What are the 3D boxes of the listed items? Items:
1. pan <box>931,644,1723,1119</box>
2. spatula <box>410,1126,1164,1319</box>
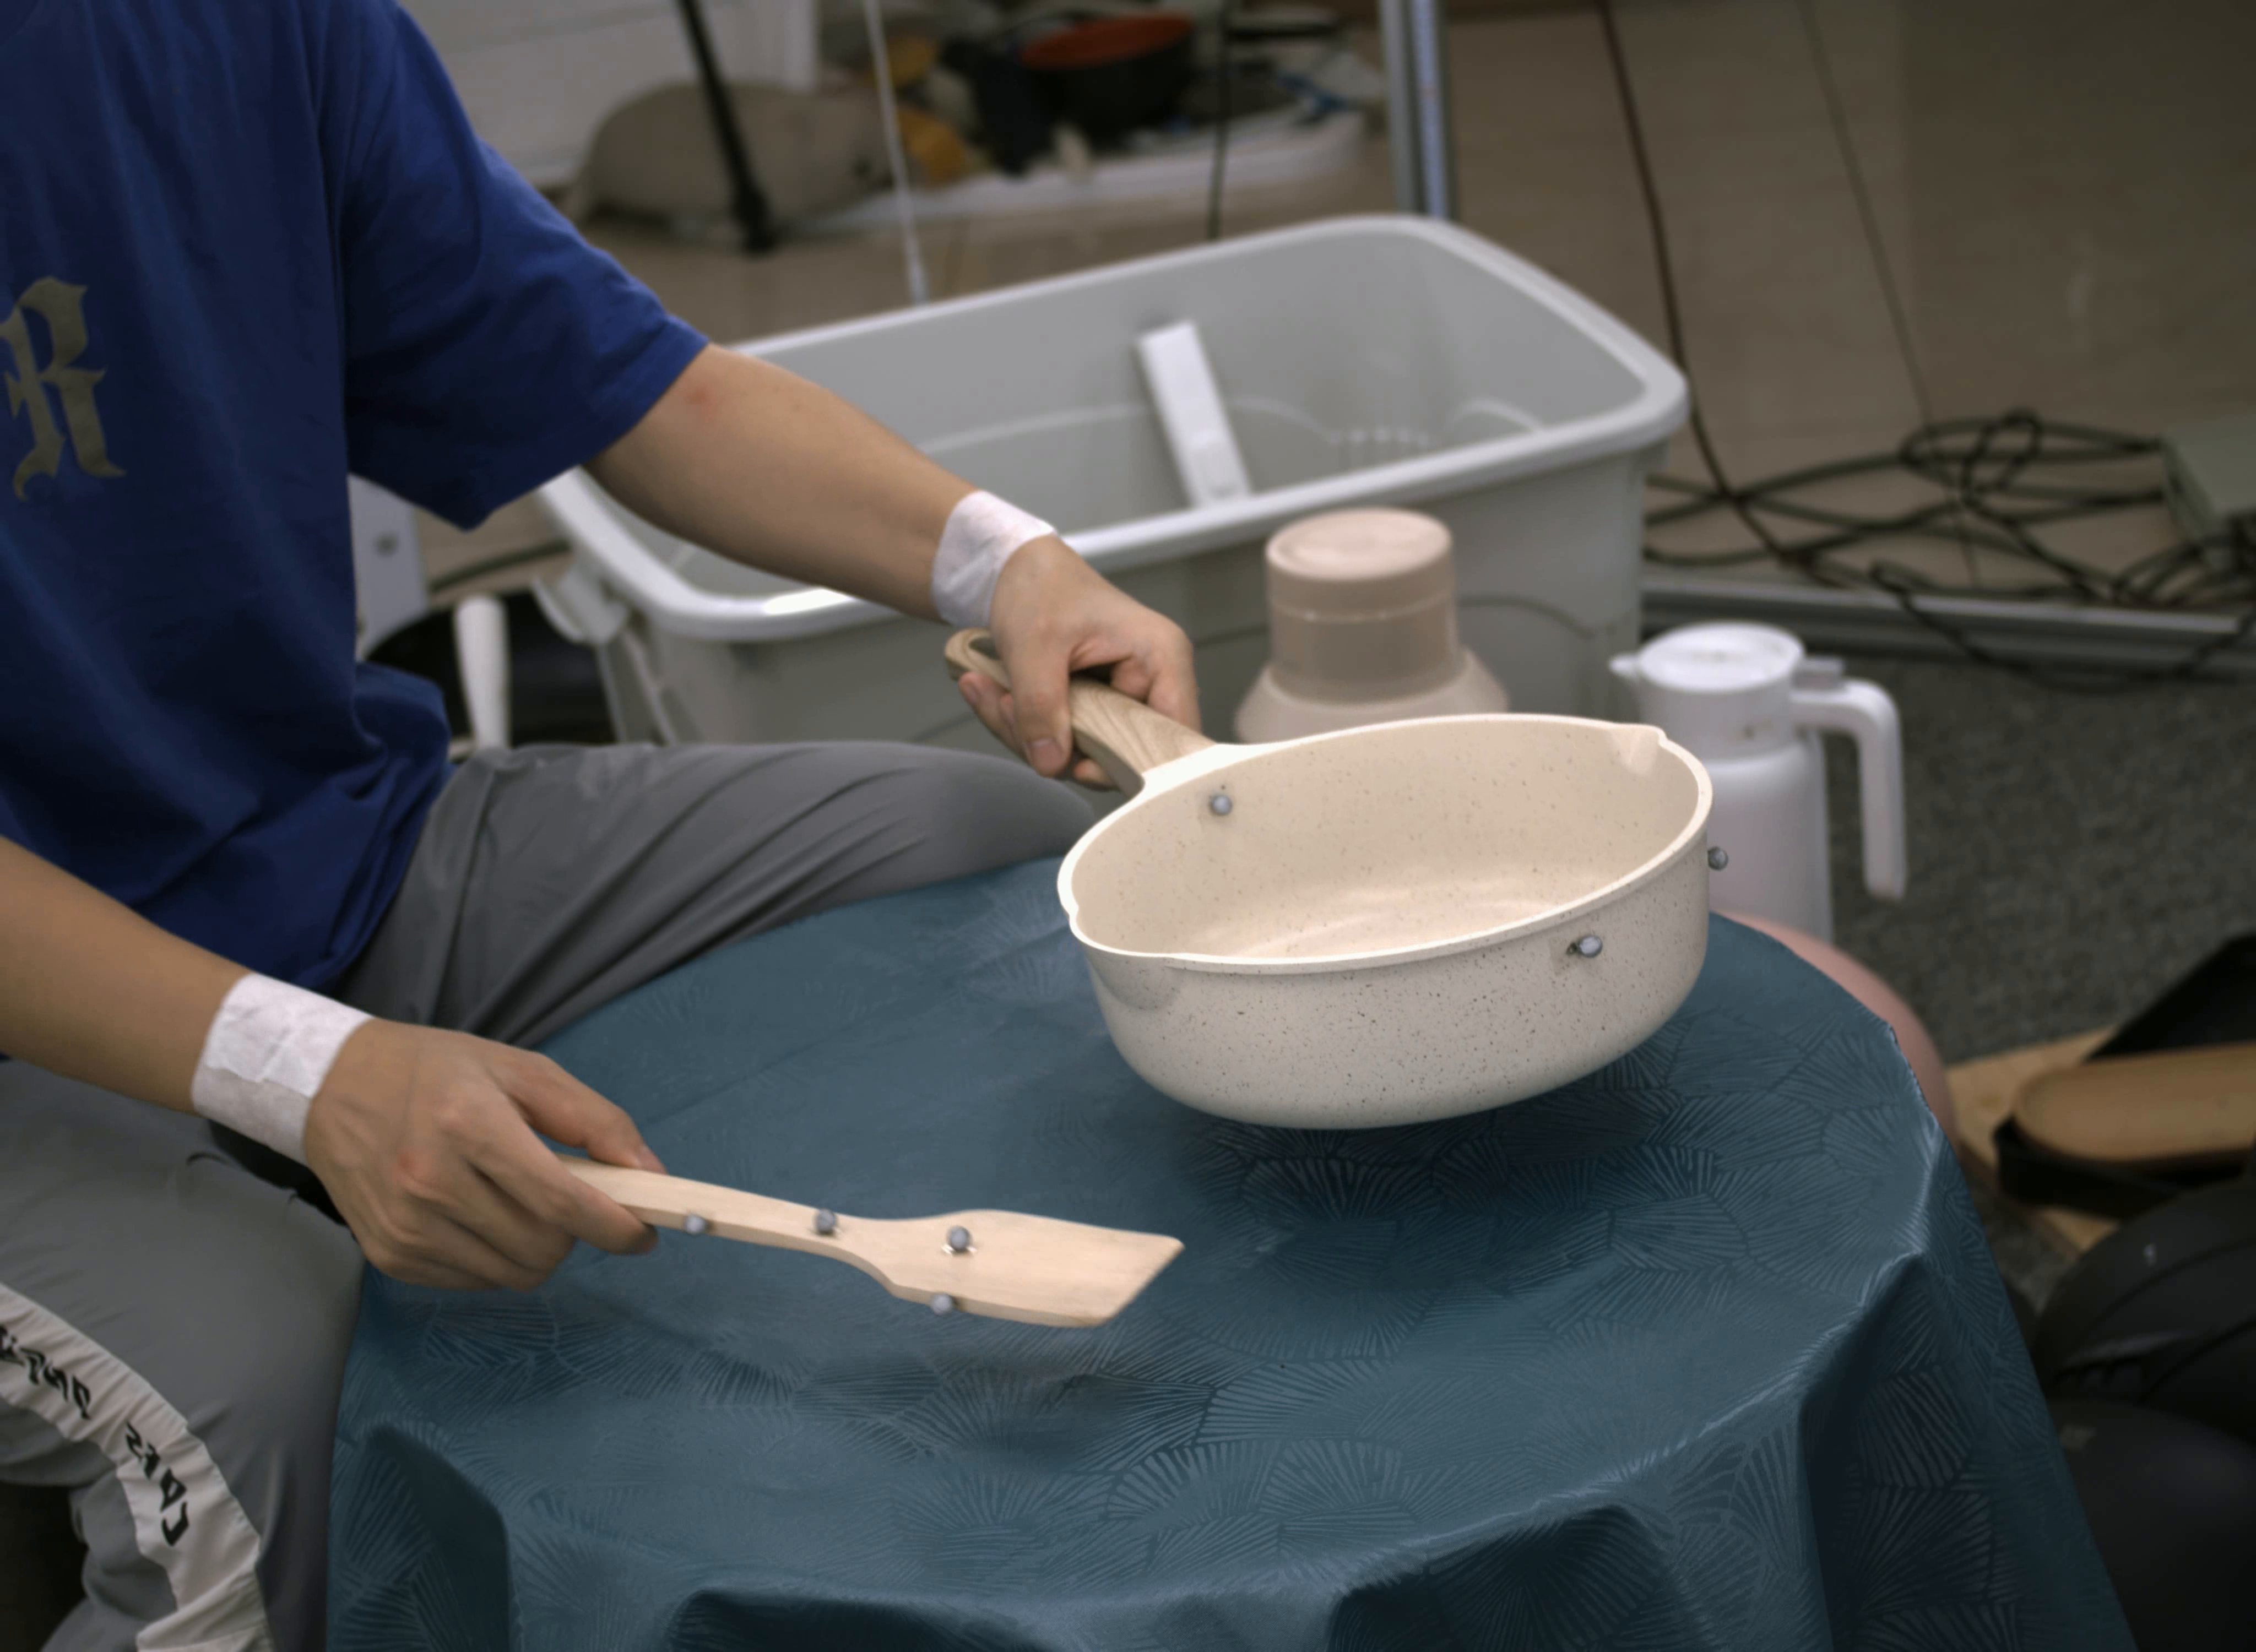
[{"bbox_3d":[0.056,0.011,2.229,0.261,0.103,0.431,-23,23,-28],"label":"pan"},{"bbox_3d":[-0.131,0.139,2.048,0.292,0.011,0.071,9,25,23],"label":"spatula"}]
